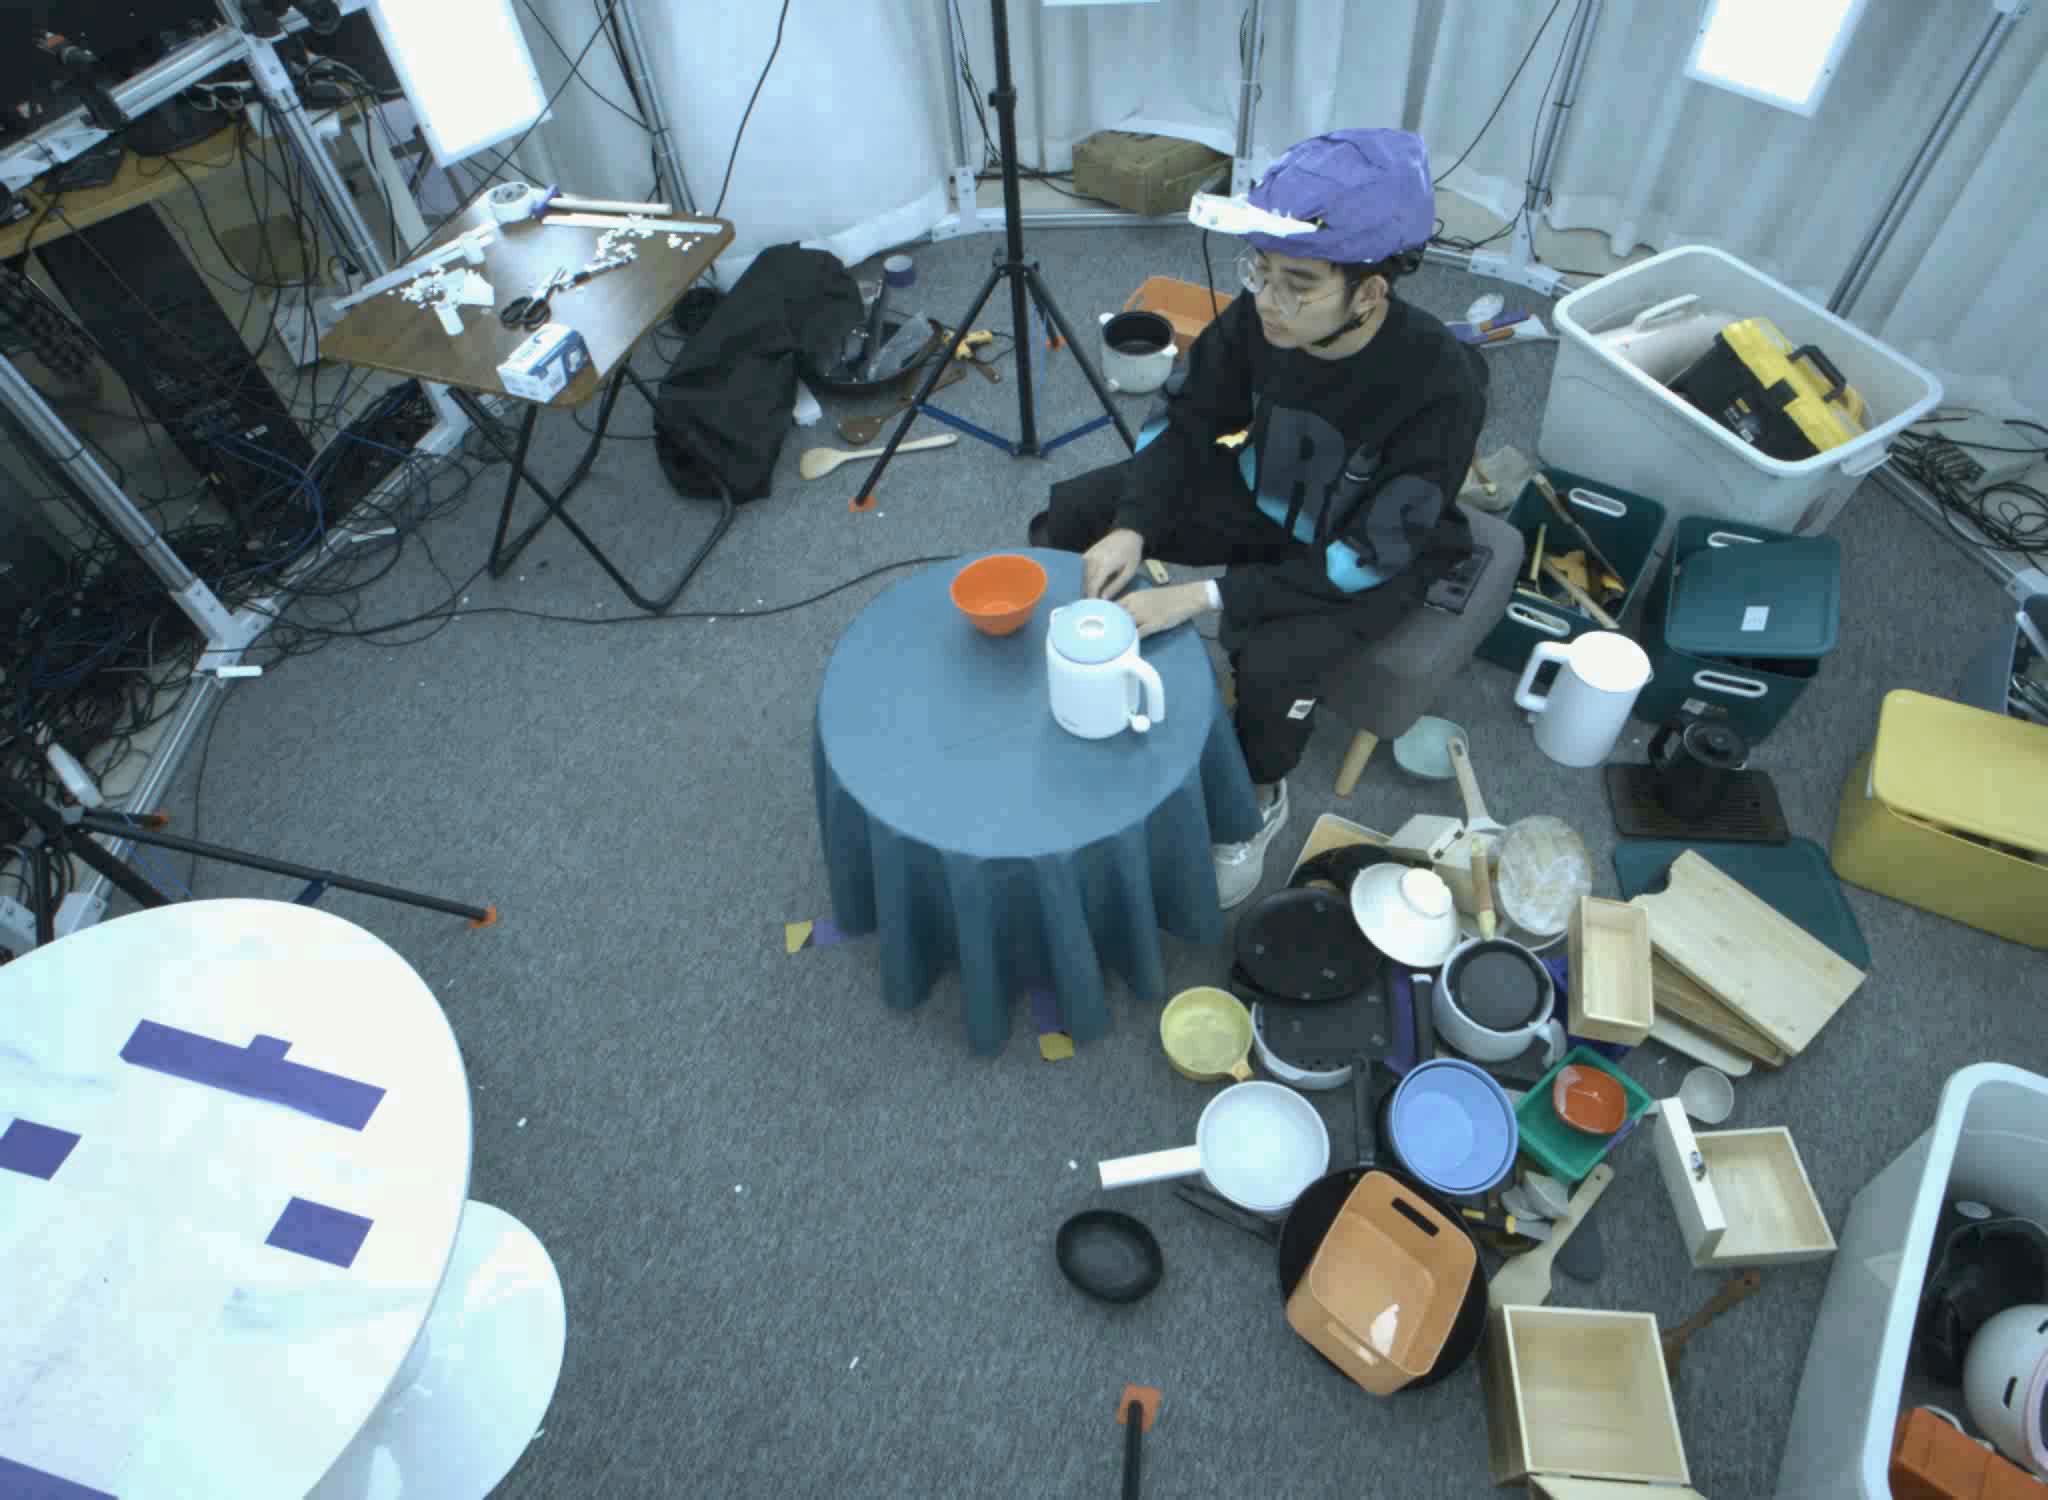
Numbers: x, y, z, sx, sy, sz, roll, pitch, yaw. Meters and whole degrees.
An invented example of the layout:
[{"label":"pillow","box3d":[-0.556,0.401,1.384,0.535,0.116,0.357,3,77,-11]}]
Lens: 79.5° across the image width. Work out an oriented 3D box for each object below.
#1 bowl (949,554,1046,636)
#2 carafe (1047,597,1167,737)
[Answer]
[{"label":"bowl","box3d":[-0.038,-0.225,1.883,0.148,0.106,0.146,-1,55,2]},{"label":"carafe","box3d":[0.120,-0.106,1.749,0.188,0.184,0.133,30,63,19]}]
